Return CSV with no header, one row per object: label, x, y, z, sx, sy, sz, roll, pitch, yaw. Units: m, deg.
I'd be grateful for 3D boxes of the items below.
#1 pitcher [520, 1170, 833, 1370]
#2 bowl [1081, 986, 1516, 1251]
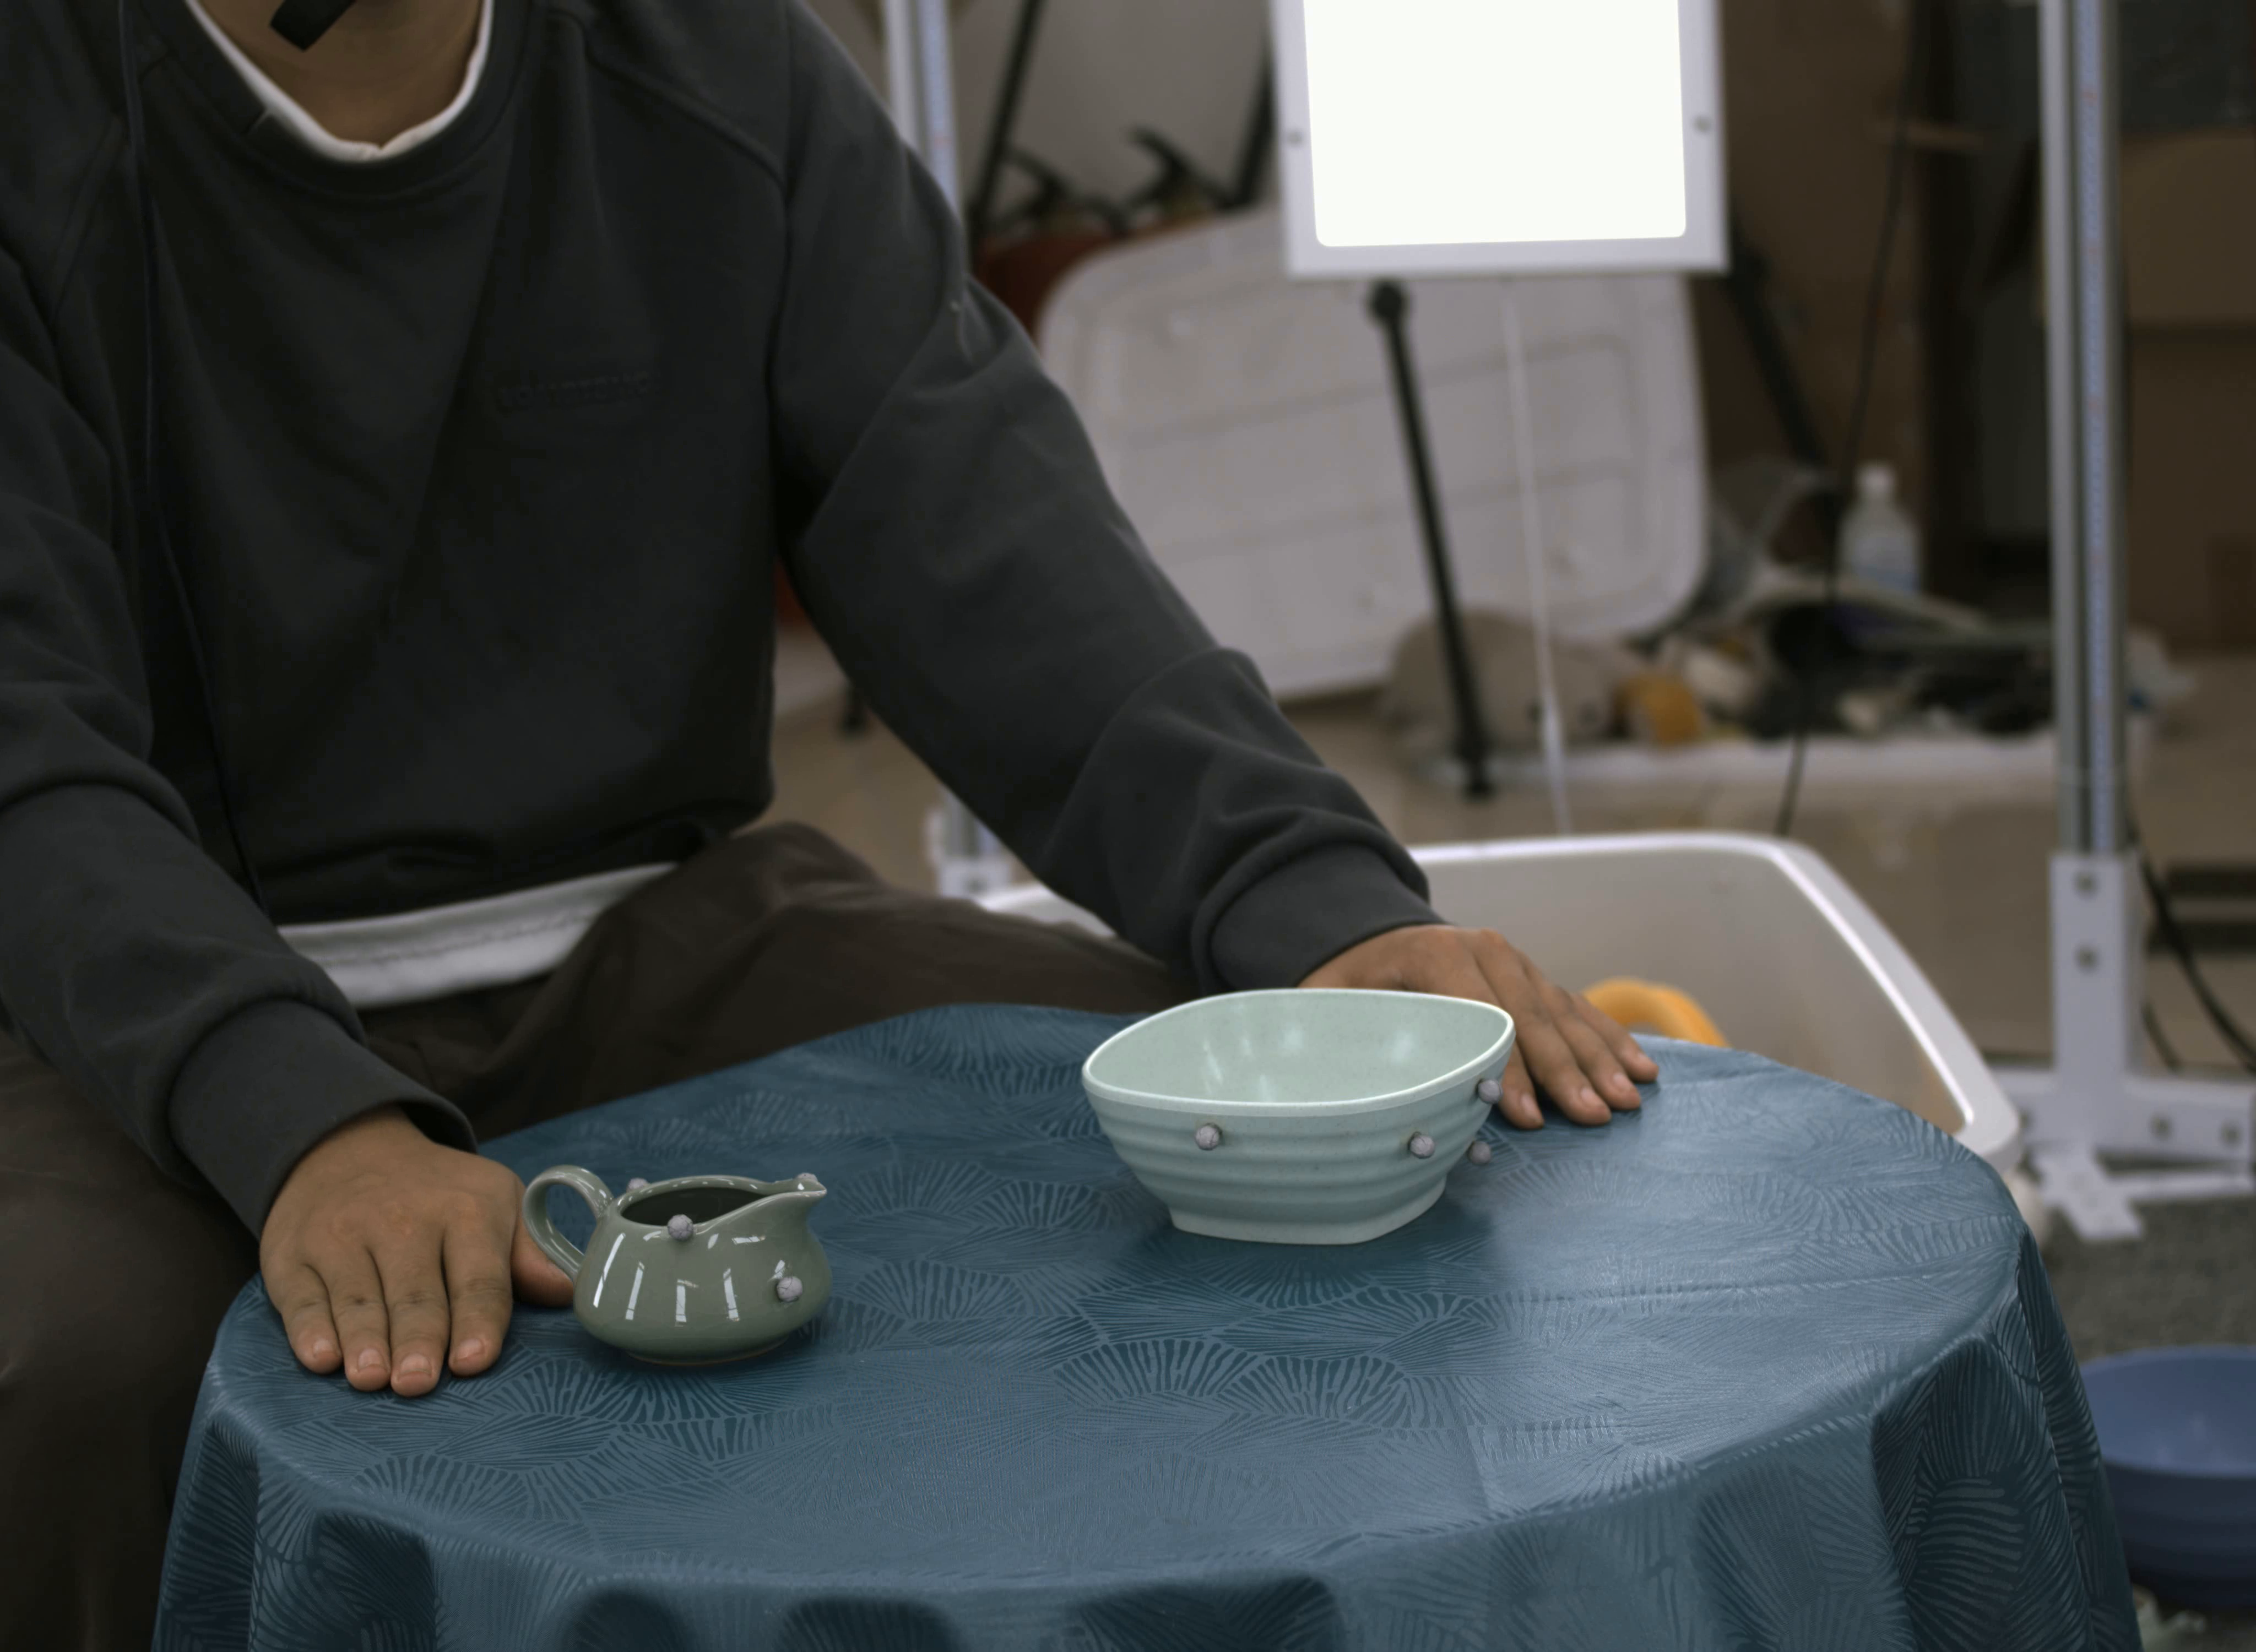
pitcher,-0.144,0.140,1.779,0.114,0.056,0.082,1,14,26
bowl,0.060,0.102,1.863,0.151,0.059,0.151,-4,15,0
